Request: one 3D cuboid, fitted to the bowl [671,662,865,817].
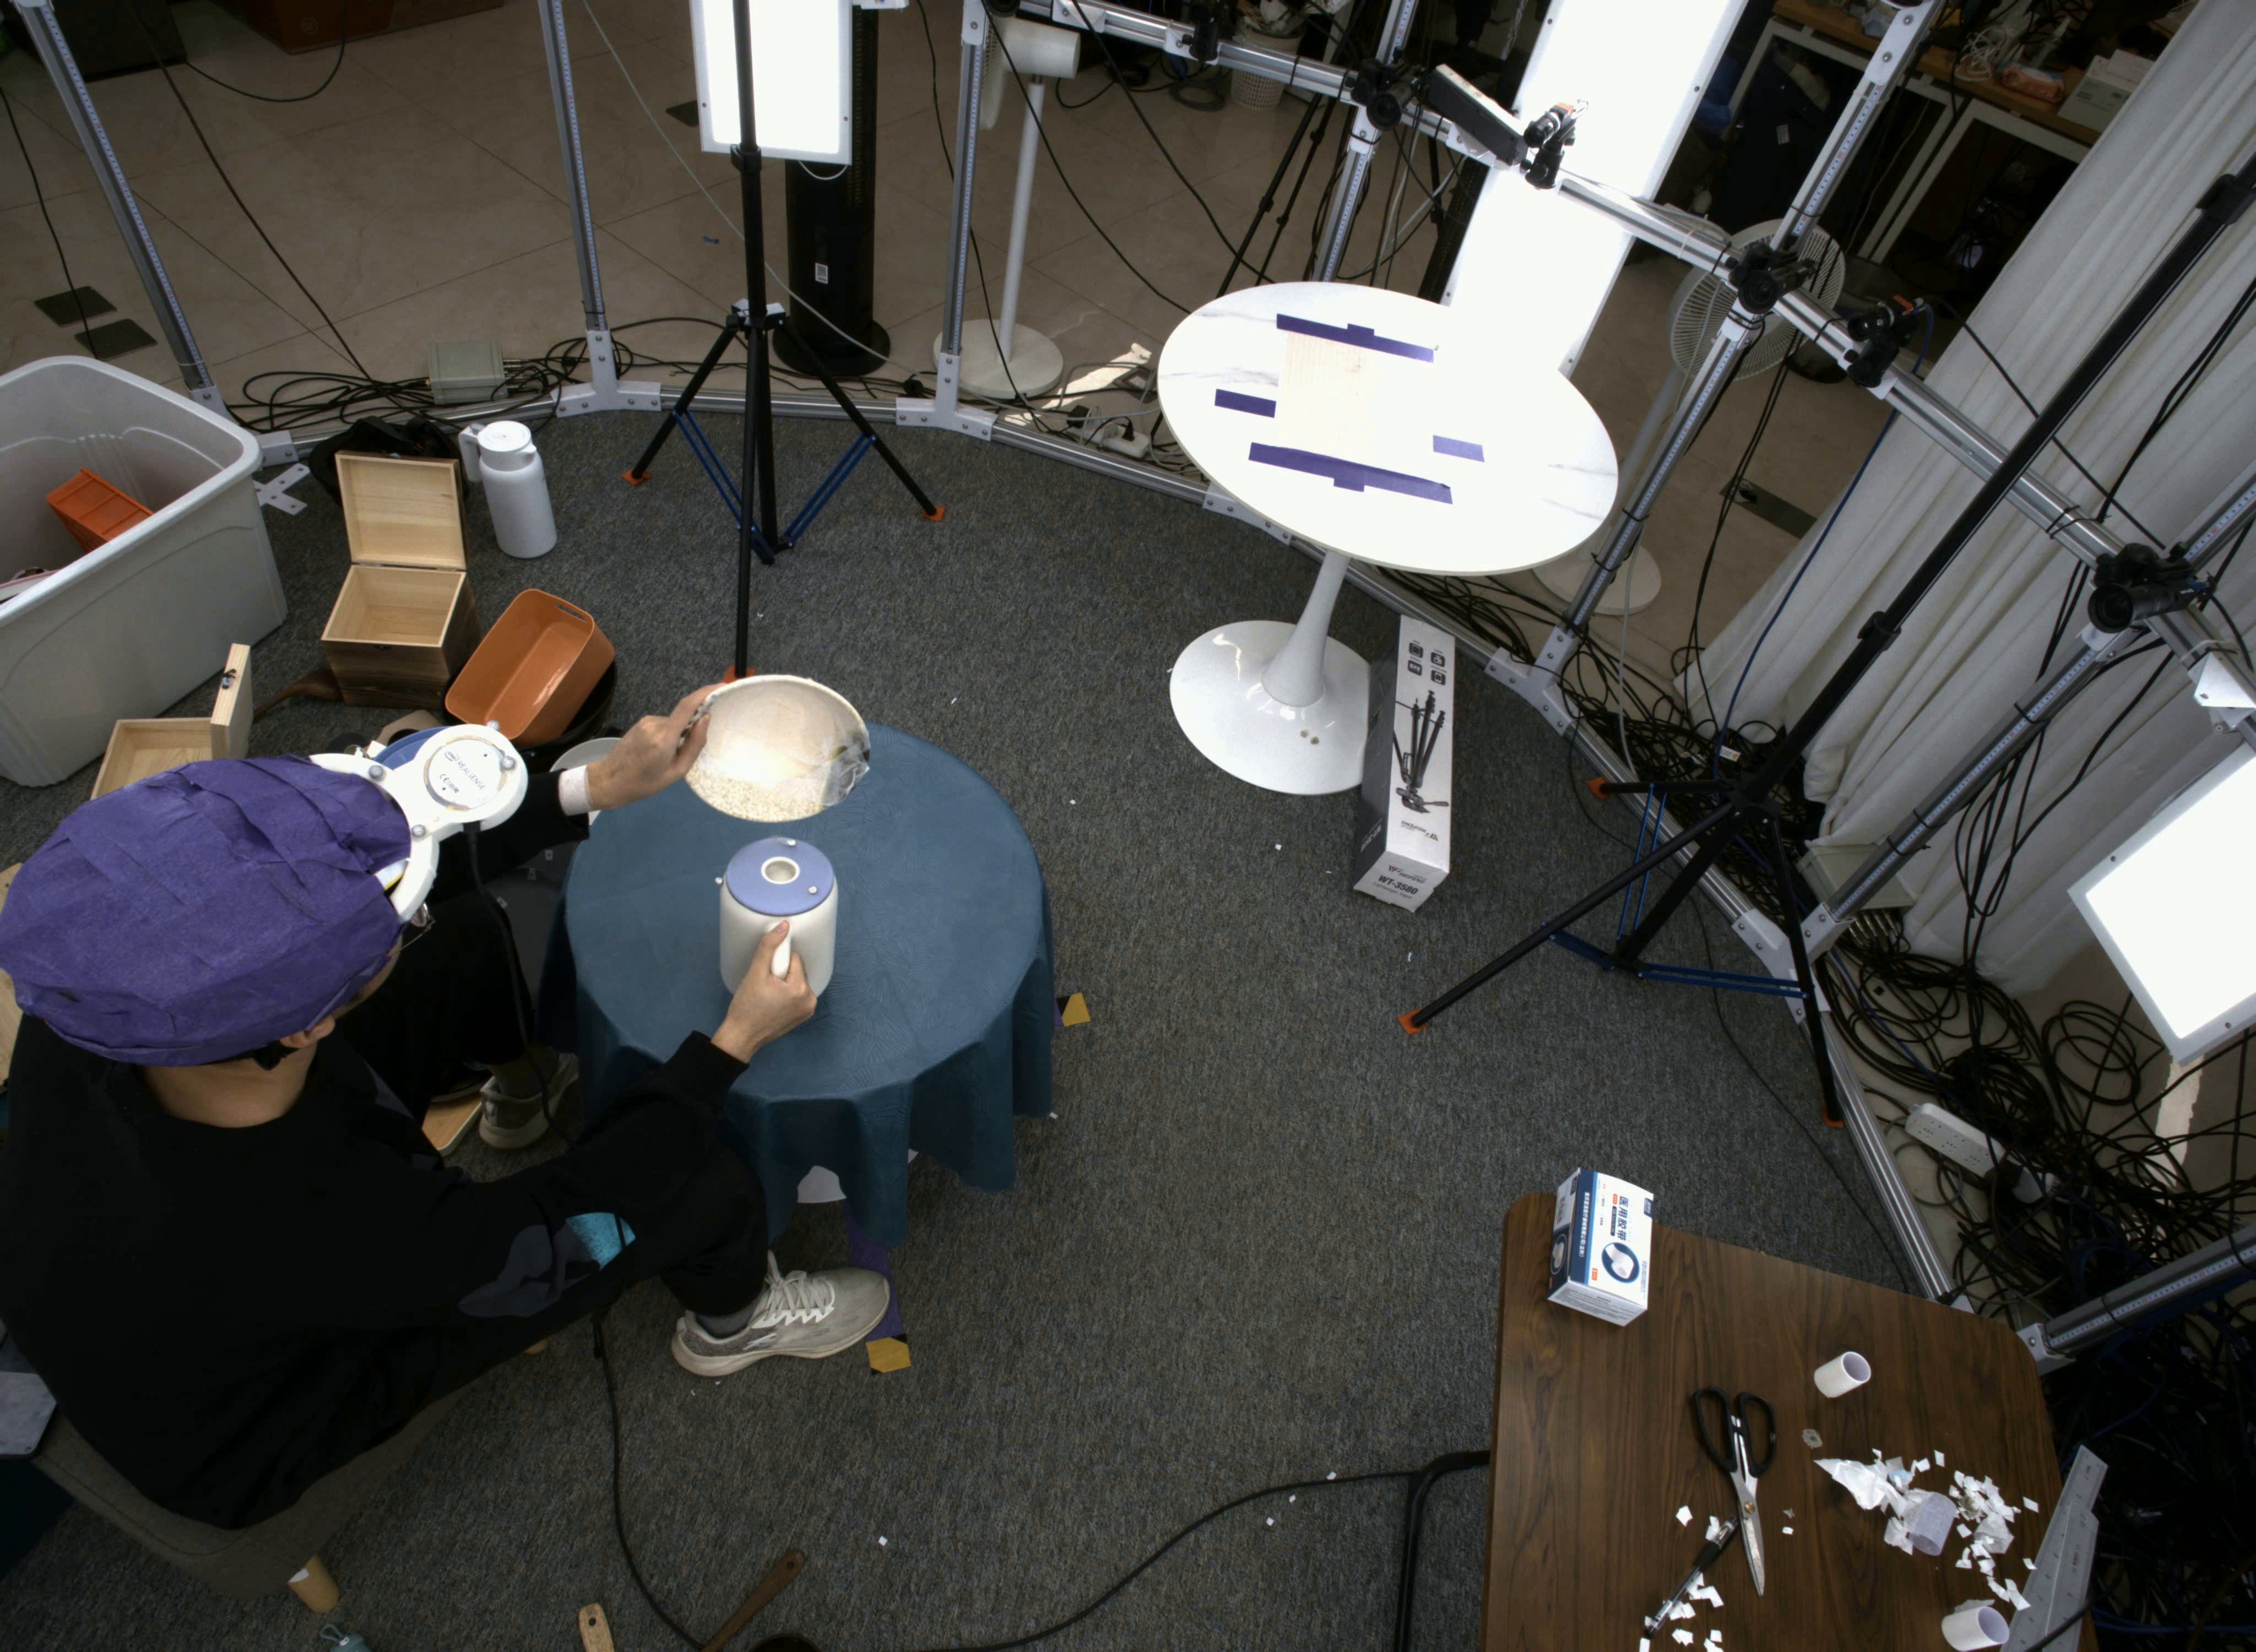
[{"bbox_3d":[-0.388,-0.113,1.404,0.204,0.209,0.076,0,43,-13],"label":"bowl"}]

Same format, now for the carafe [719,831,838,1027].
[{"bbox_3d":[-0.398,0.128,1.481,0.133,0.186,0.186,-2,48,-17],"label":"carafe"}]
